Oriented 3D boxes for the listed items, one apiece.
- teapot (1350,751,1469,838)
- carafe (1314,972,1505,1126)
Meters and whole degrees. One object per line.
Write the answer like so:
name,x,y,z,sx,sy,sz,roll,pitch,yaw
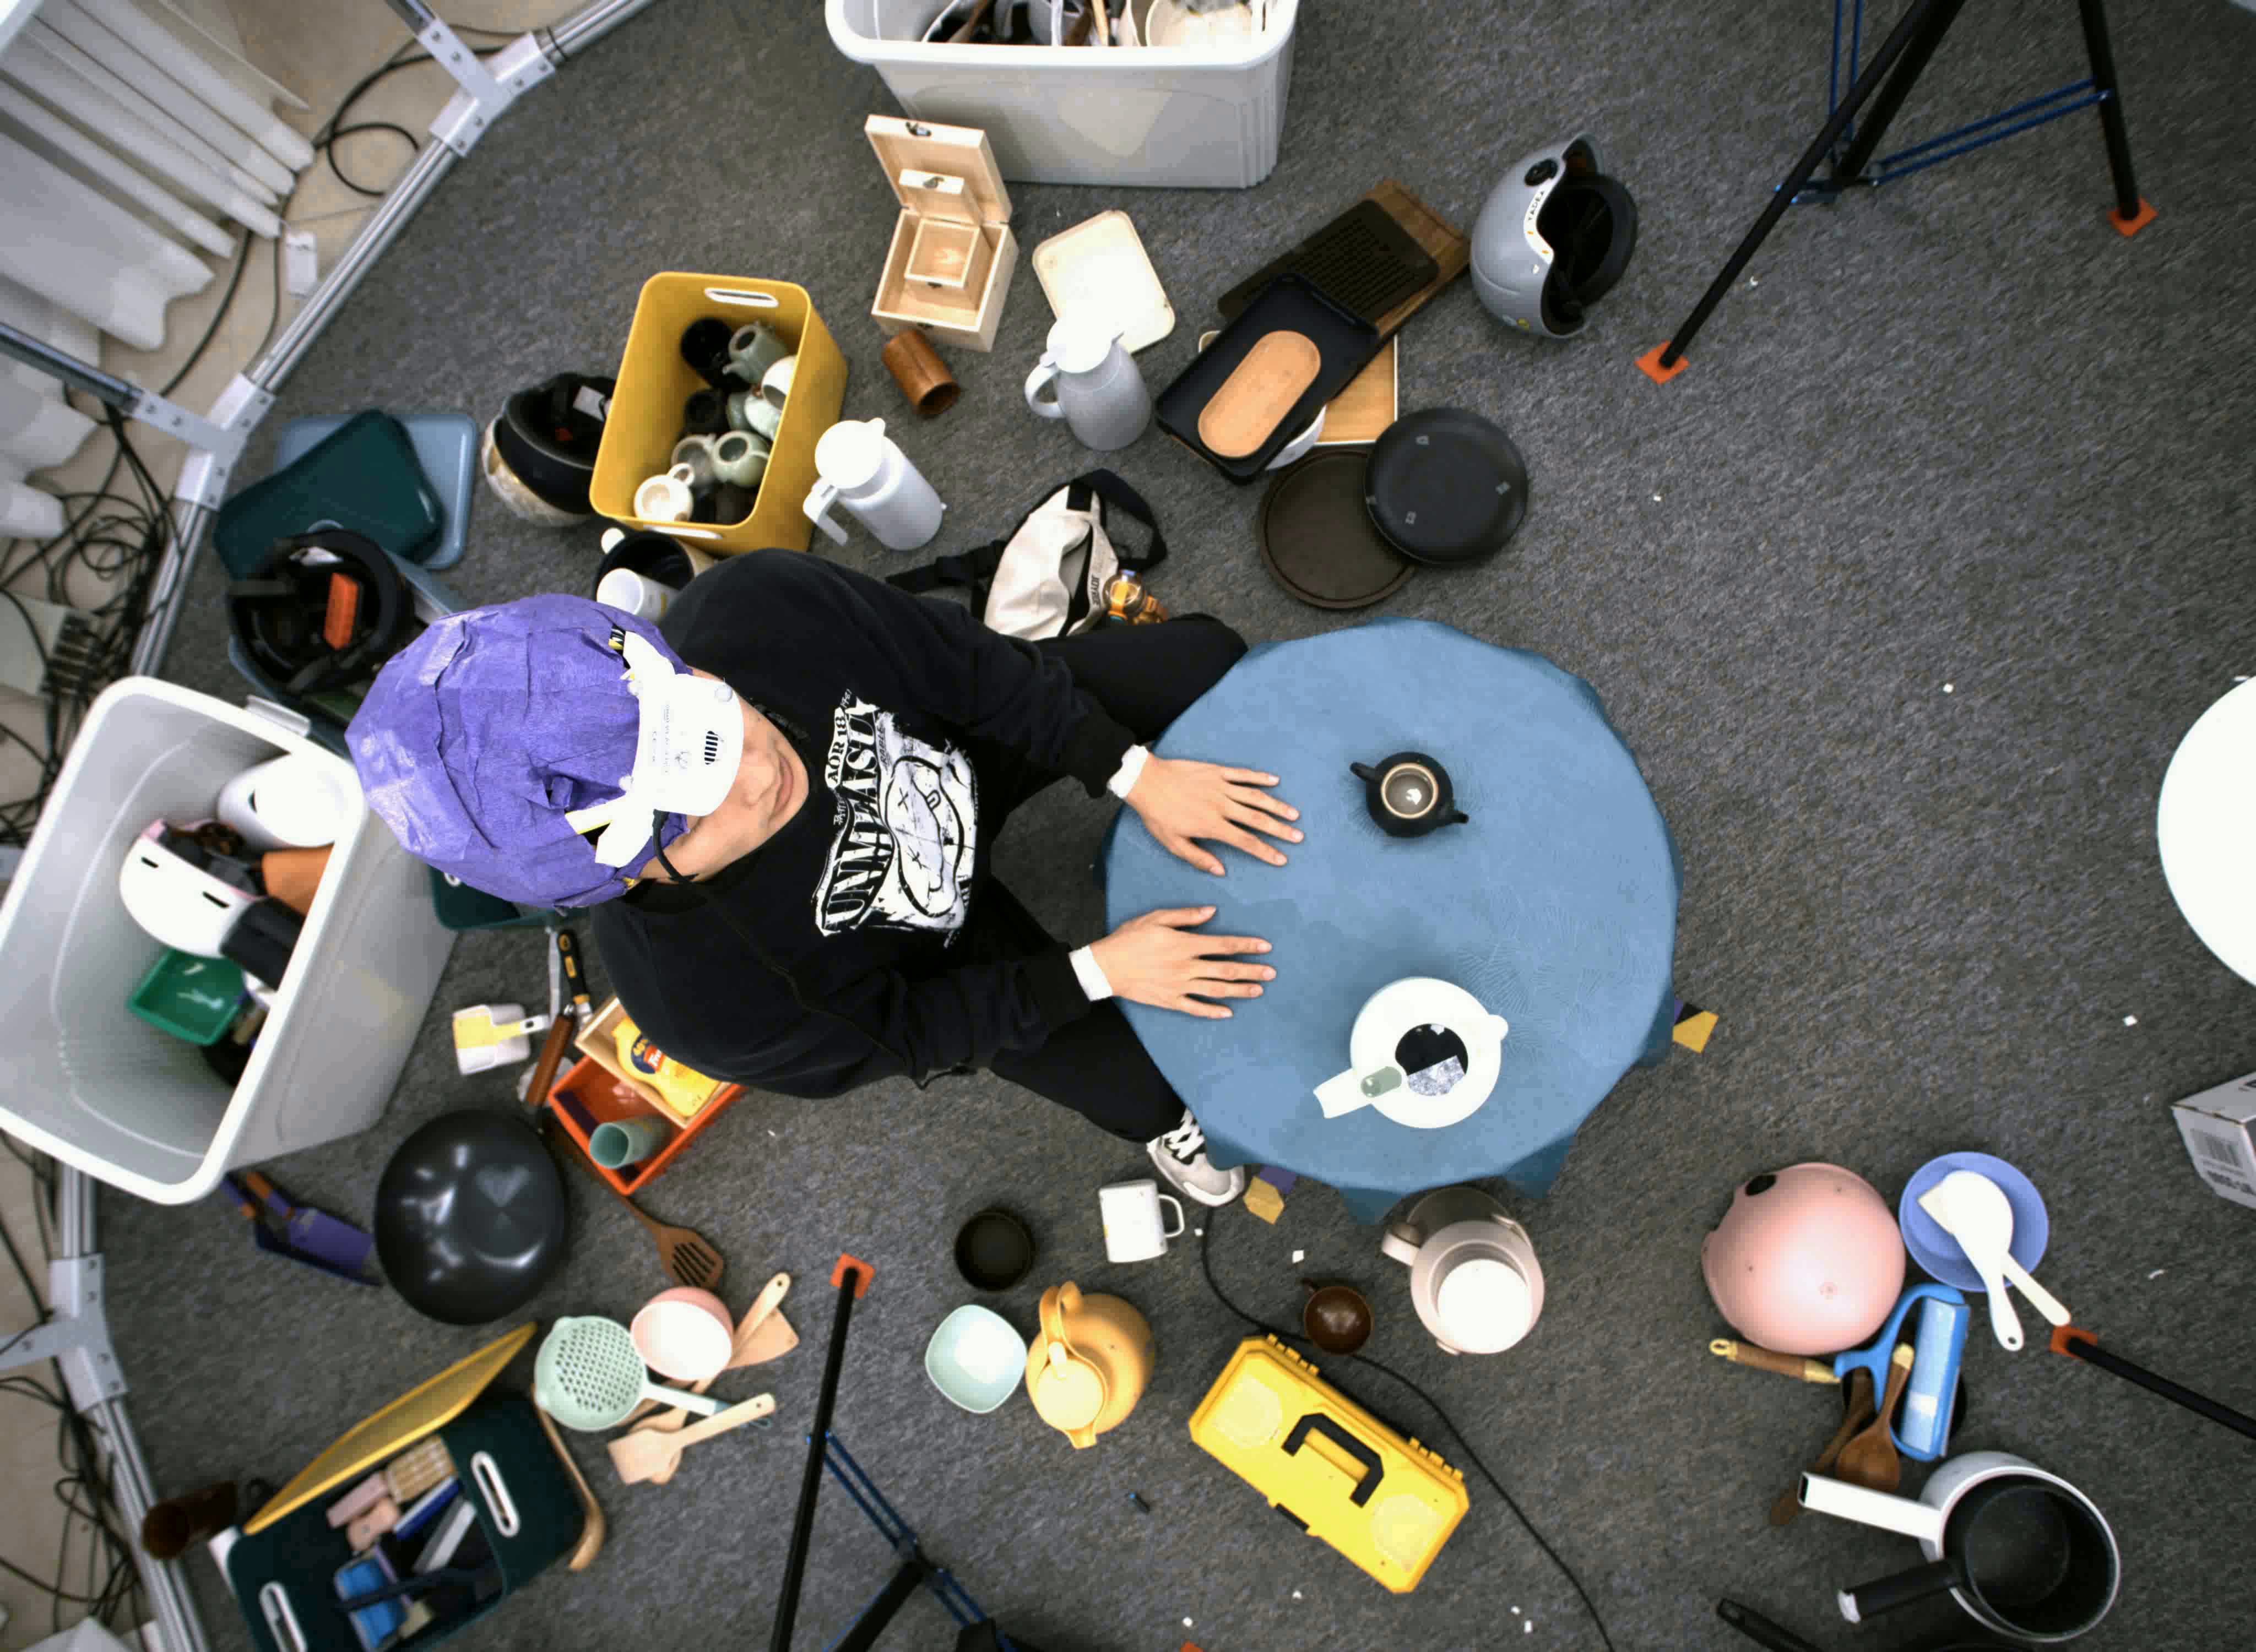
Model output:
teapot,0.292,-0.035,1.435,0.133,0.053,0.091,27,90,11
carafe,0.271,0.221,1.327,0.188,0.256,0.143,-27,82,10
